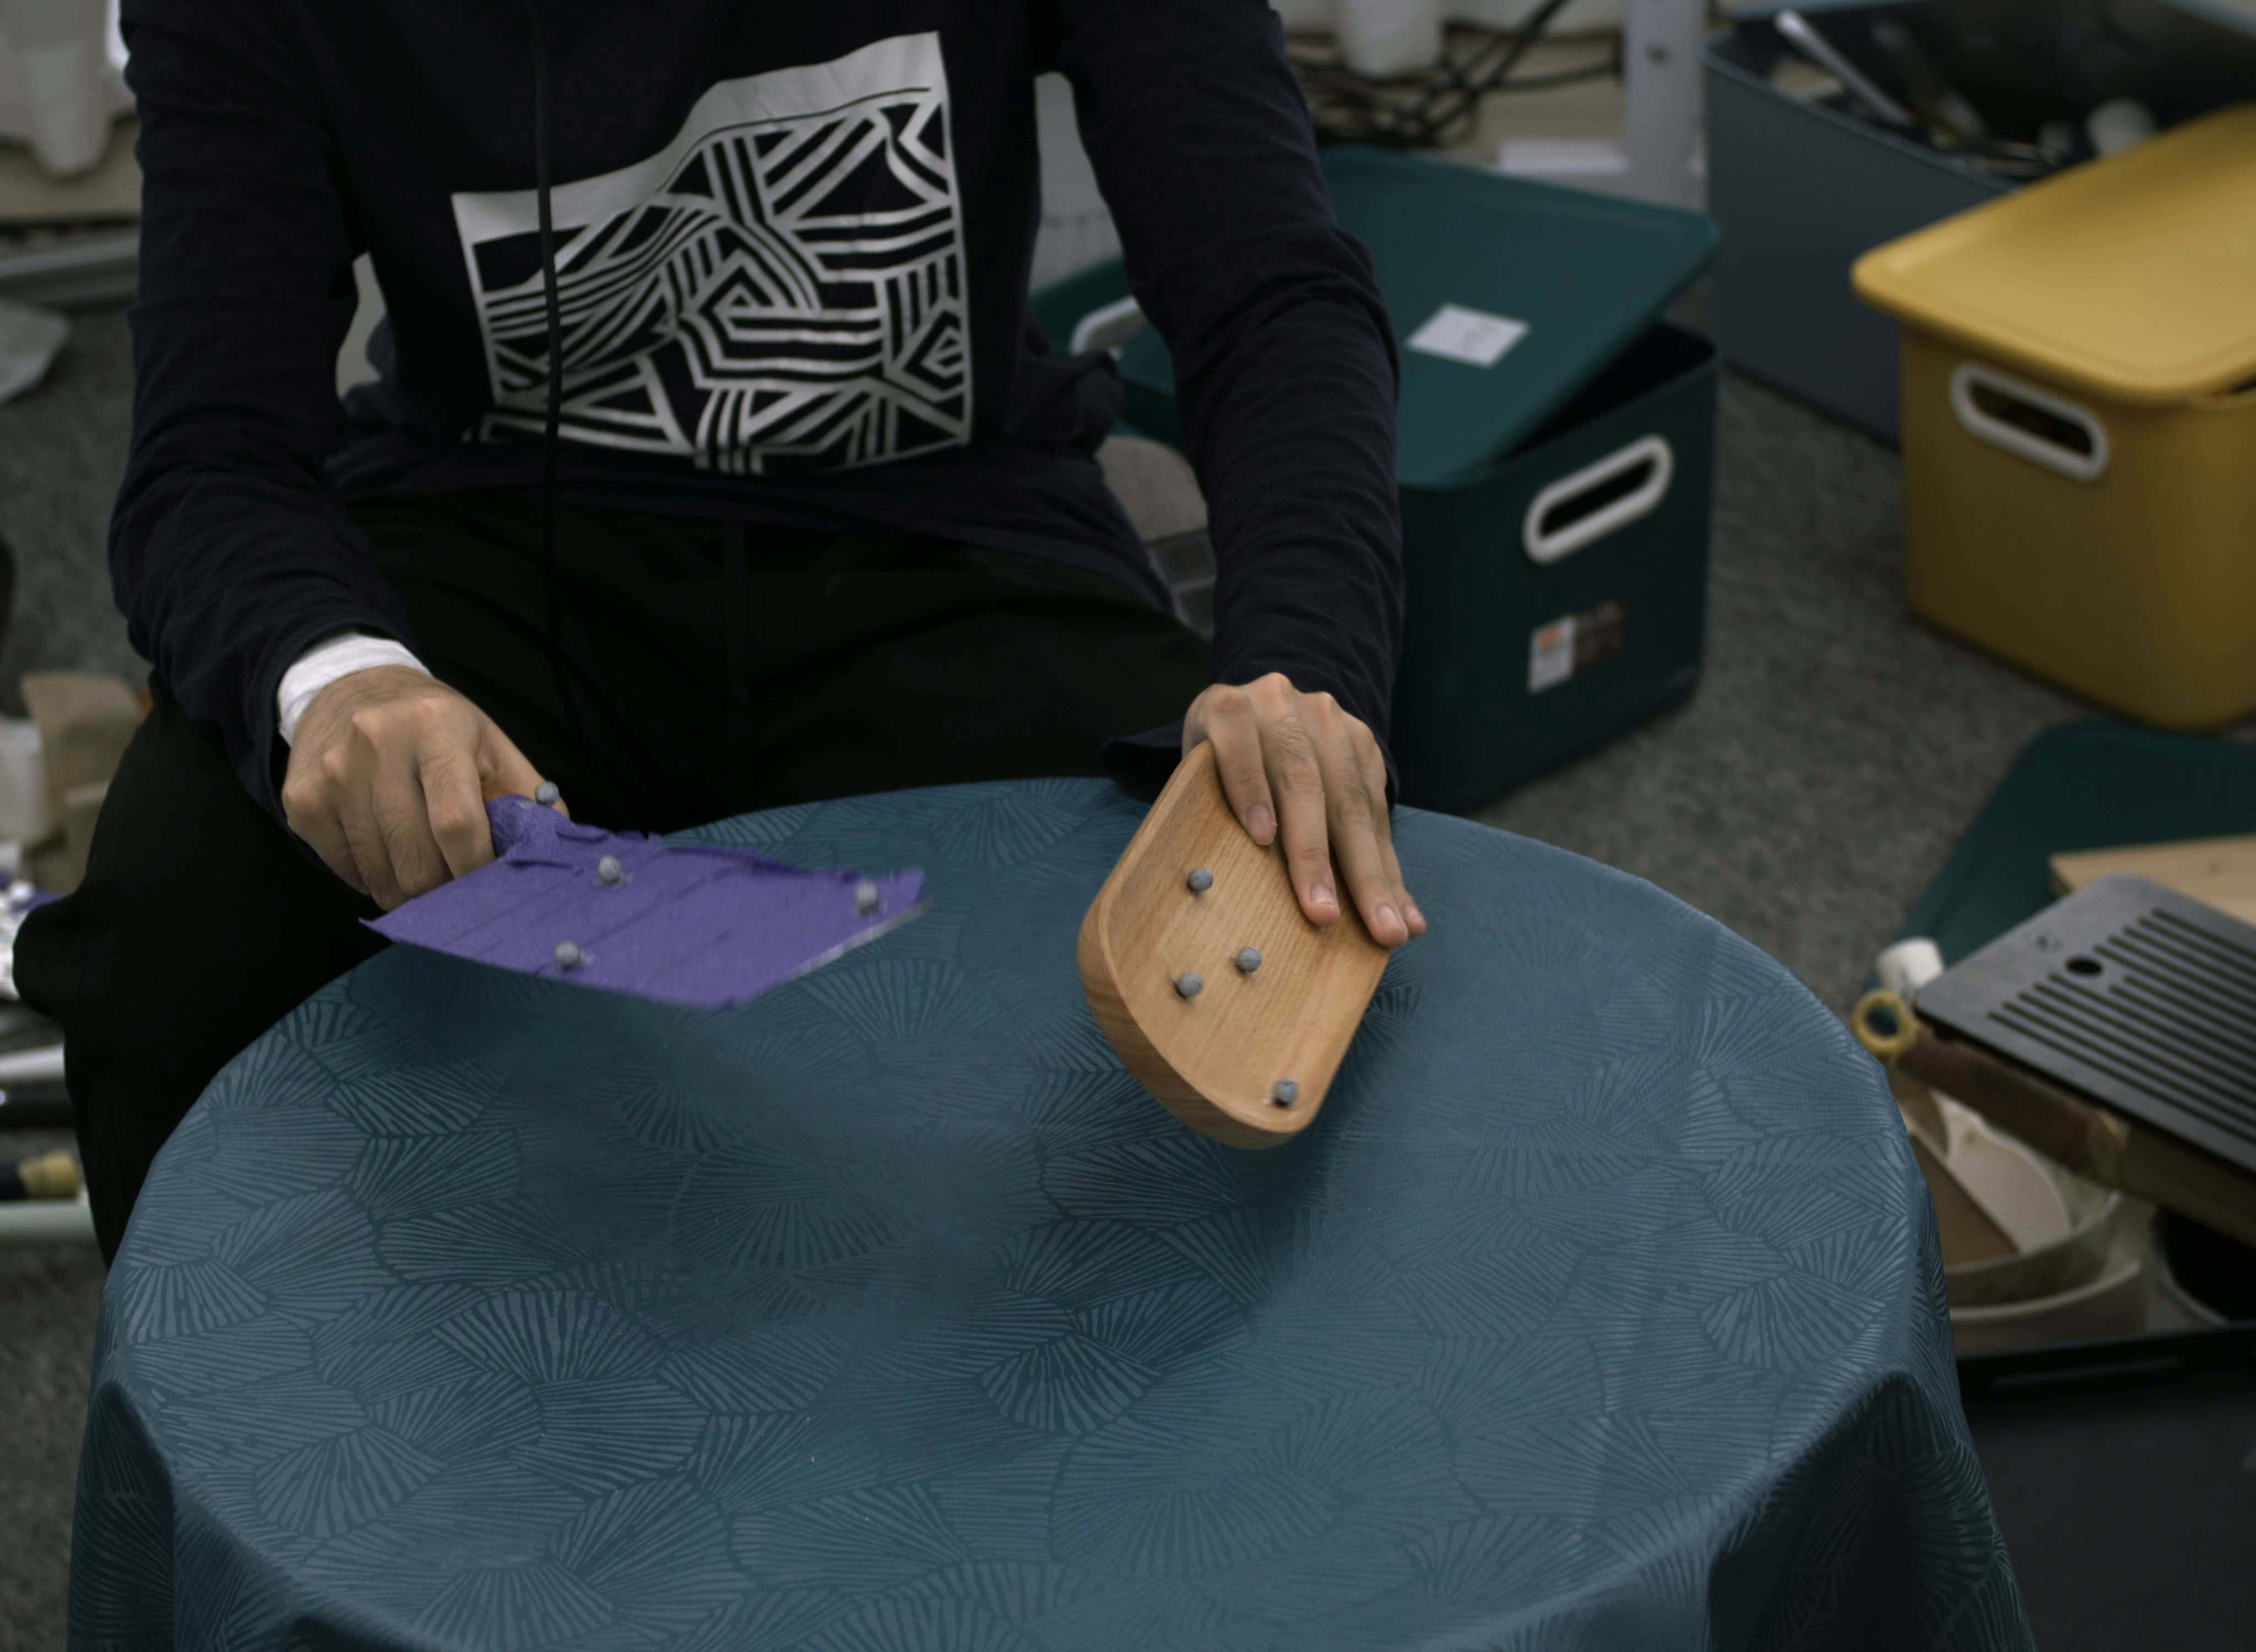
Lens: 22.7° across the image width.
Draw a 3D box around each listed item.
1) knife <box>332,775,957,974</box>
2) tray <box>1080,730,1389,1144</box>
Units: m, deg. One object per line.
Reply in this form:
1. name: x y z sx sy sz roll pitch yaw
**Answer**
1. knife: -0.190 0.015 1.851 0.105 0.032 0.313 -27 20 -37
2. tray: 0.036 0.036 1.885 0.020 0.101 0.234 -38 8 22
